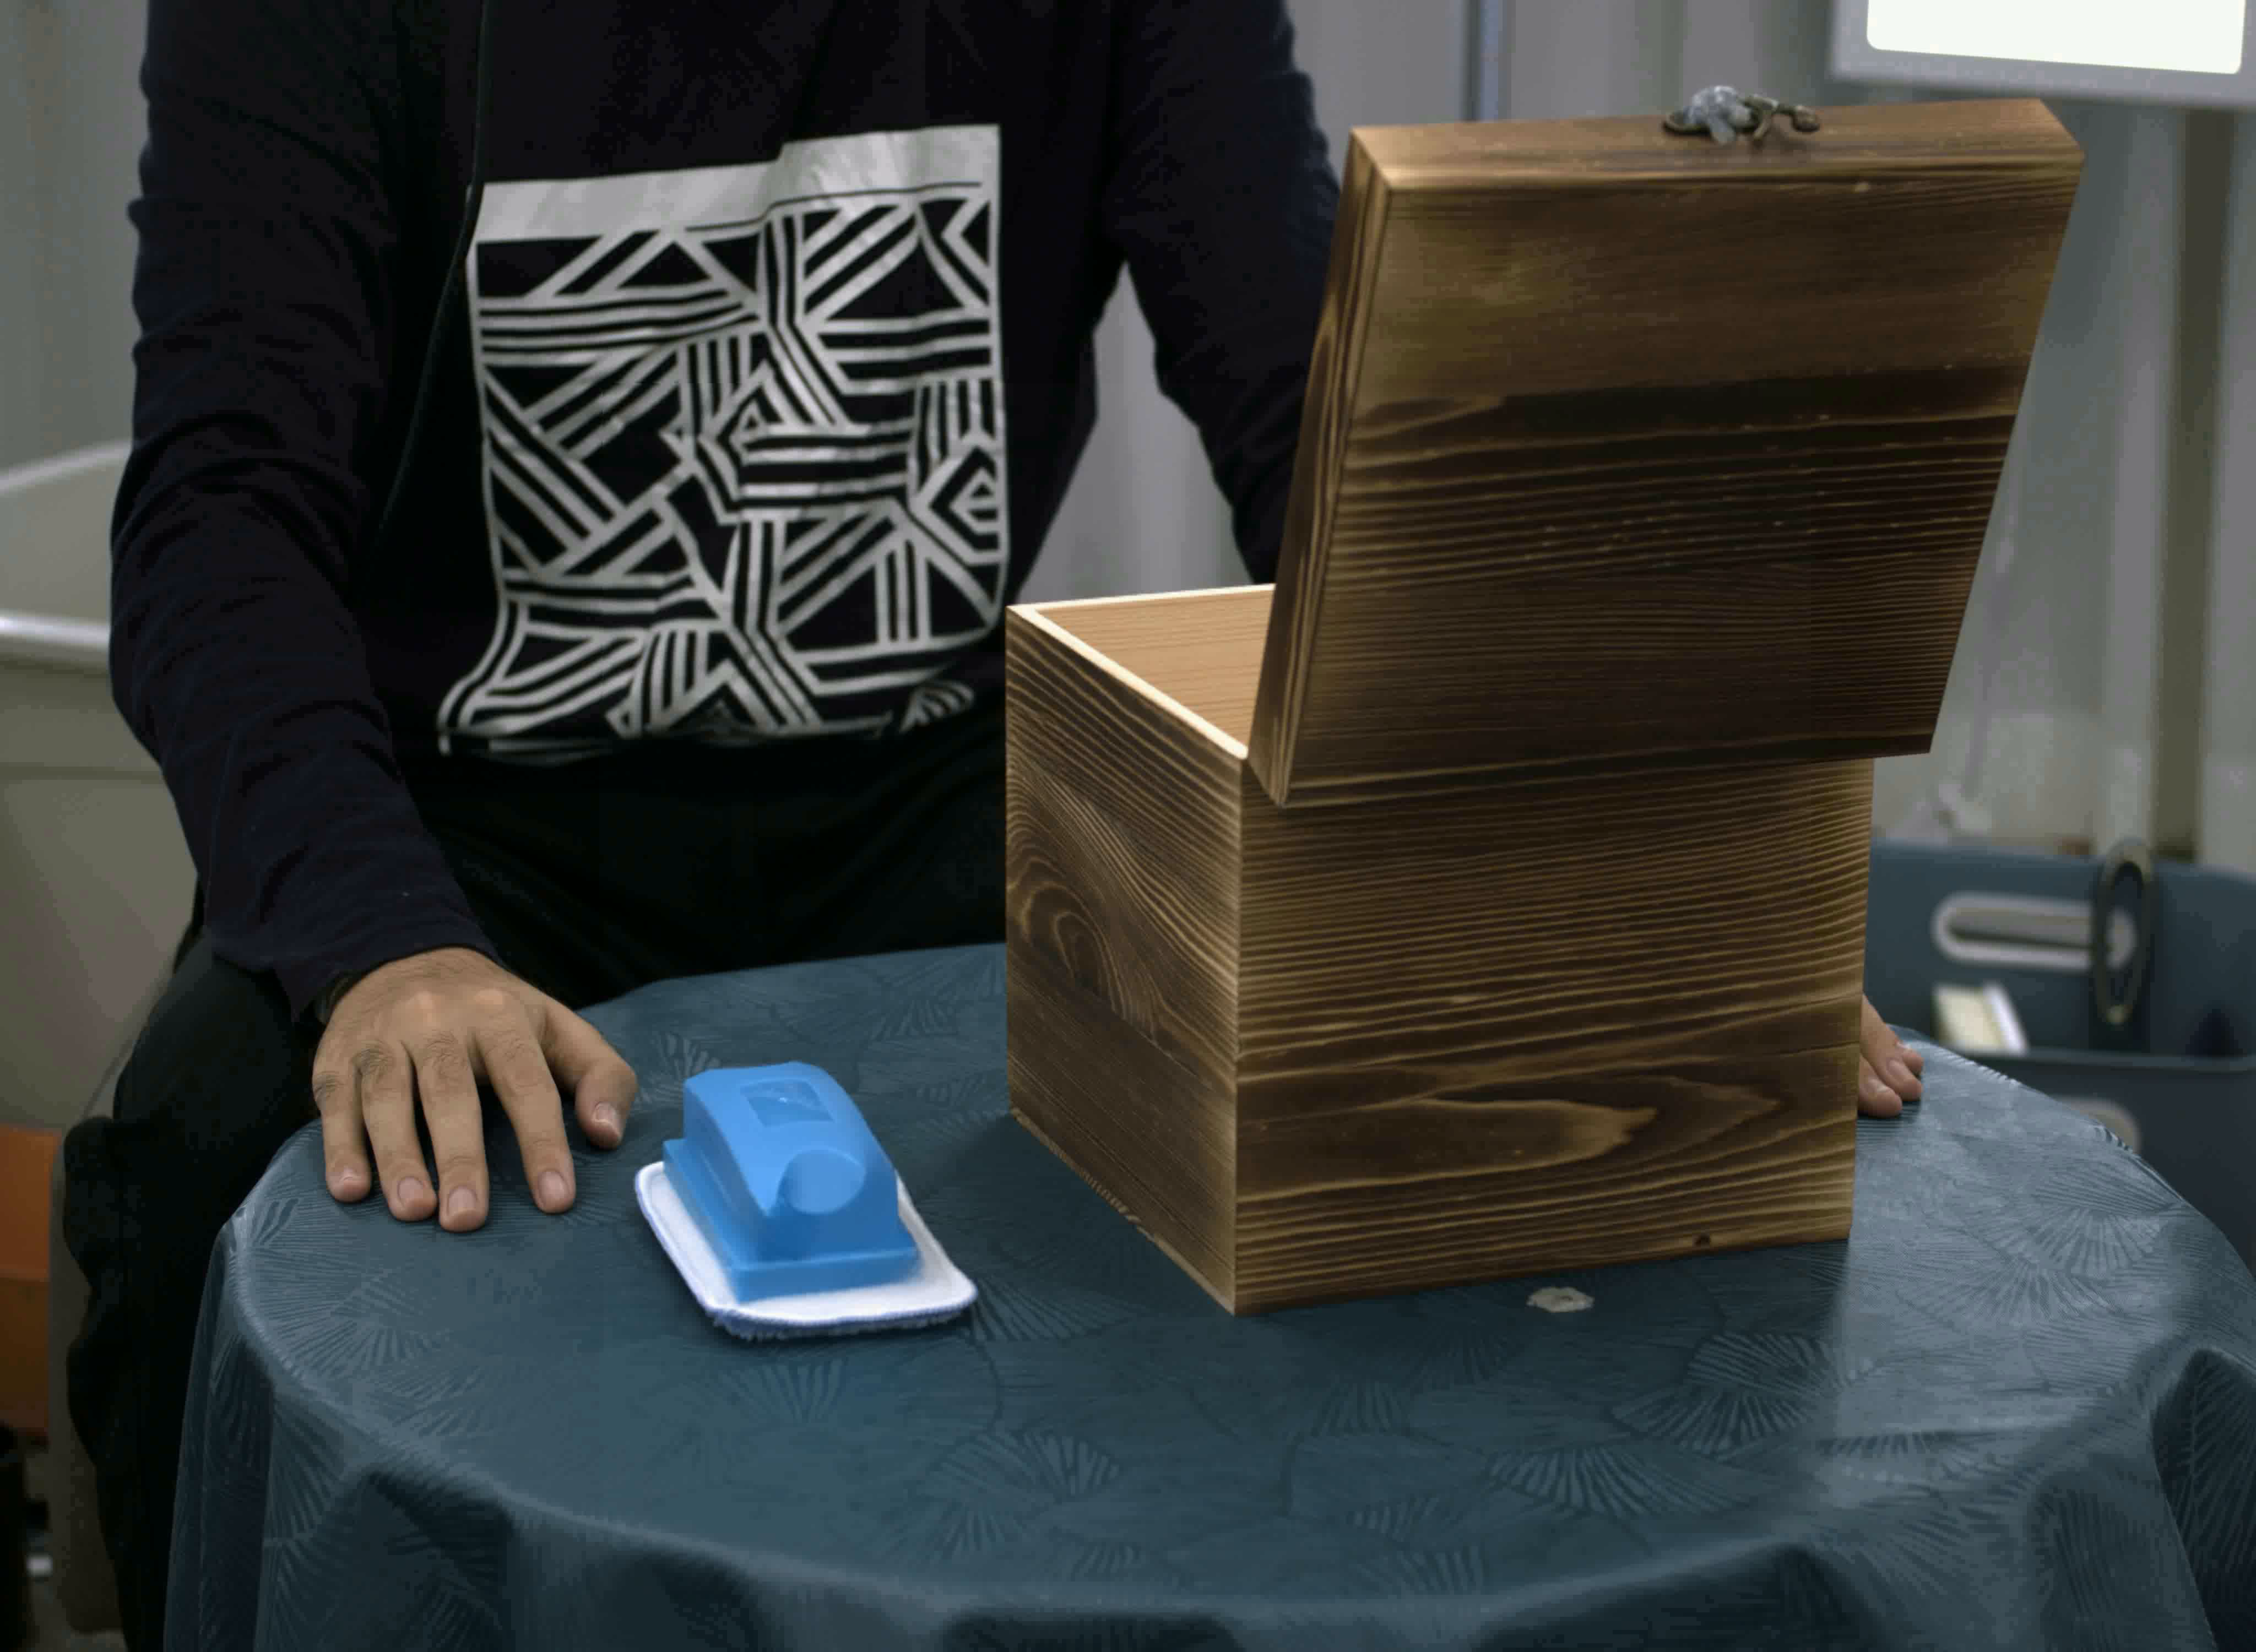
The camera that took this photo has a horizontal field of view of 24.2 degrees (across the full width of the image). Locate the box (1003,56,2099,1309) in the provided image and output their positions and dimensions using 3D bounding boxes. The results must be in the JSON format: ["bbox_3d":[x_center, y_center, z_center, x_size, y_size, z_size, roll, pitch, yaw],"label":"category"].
[{"bbox_3d":[0.111,-0.053,1.549,0.209,0.378,0.318,-5,17,-20],"label":"box"}]

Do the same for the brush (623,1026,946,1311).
[{"bbox_3d":[-0.101,0.098,1.558,0.084,0.056,0.142,0,18,-14],"label":"brush"}]
